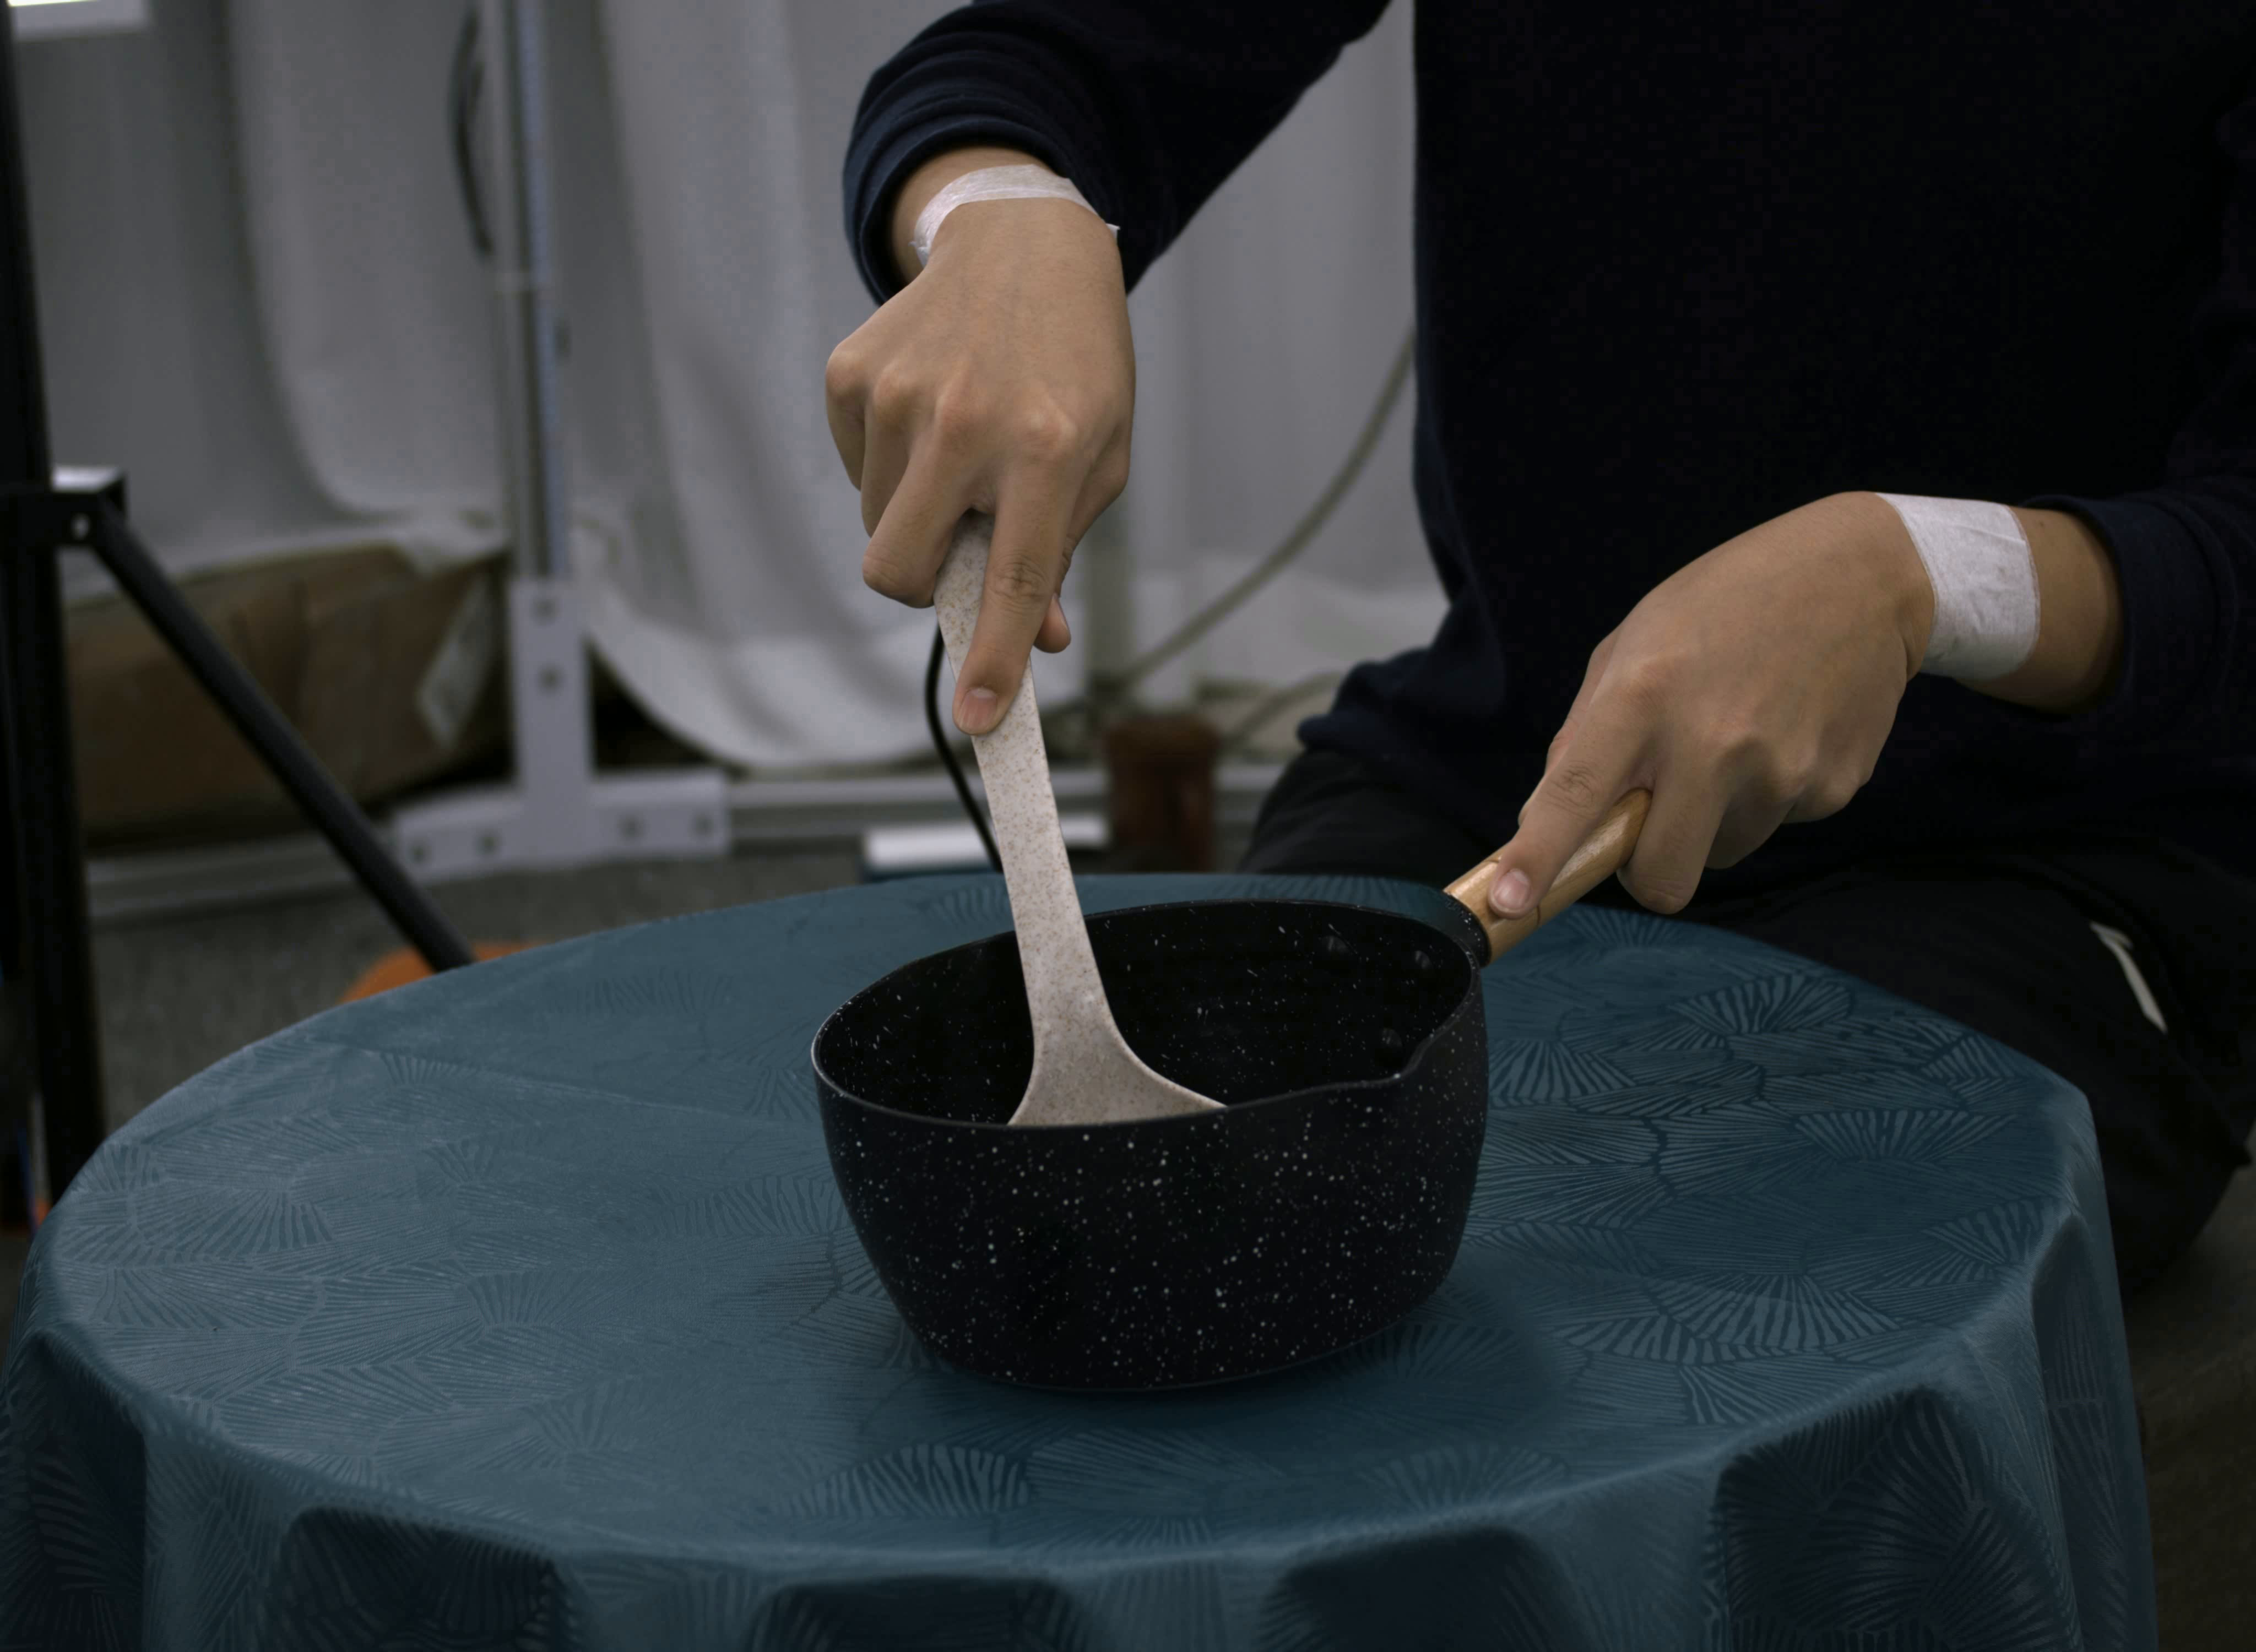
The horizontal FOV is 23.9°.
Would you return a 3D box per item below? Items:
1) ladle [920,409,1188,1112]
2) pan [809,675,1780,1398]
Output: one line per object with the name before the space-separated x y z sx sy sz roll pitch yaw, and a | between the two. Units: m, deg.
ladle | -0.030 -0.002 1.496 0.089 0.278 0.068 -16 -19 9
pan | 0.066 0.055 1.495 0.336 0.108 0.212 -22 21 -37
